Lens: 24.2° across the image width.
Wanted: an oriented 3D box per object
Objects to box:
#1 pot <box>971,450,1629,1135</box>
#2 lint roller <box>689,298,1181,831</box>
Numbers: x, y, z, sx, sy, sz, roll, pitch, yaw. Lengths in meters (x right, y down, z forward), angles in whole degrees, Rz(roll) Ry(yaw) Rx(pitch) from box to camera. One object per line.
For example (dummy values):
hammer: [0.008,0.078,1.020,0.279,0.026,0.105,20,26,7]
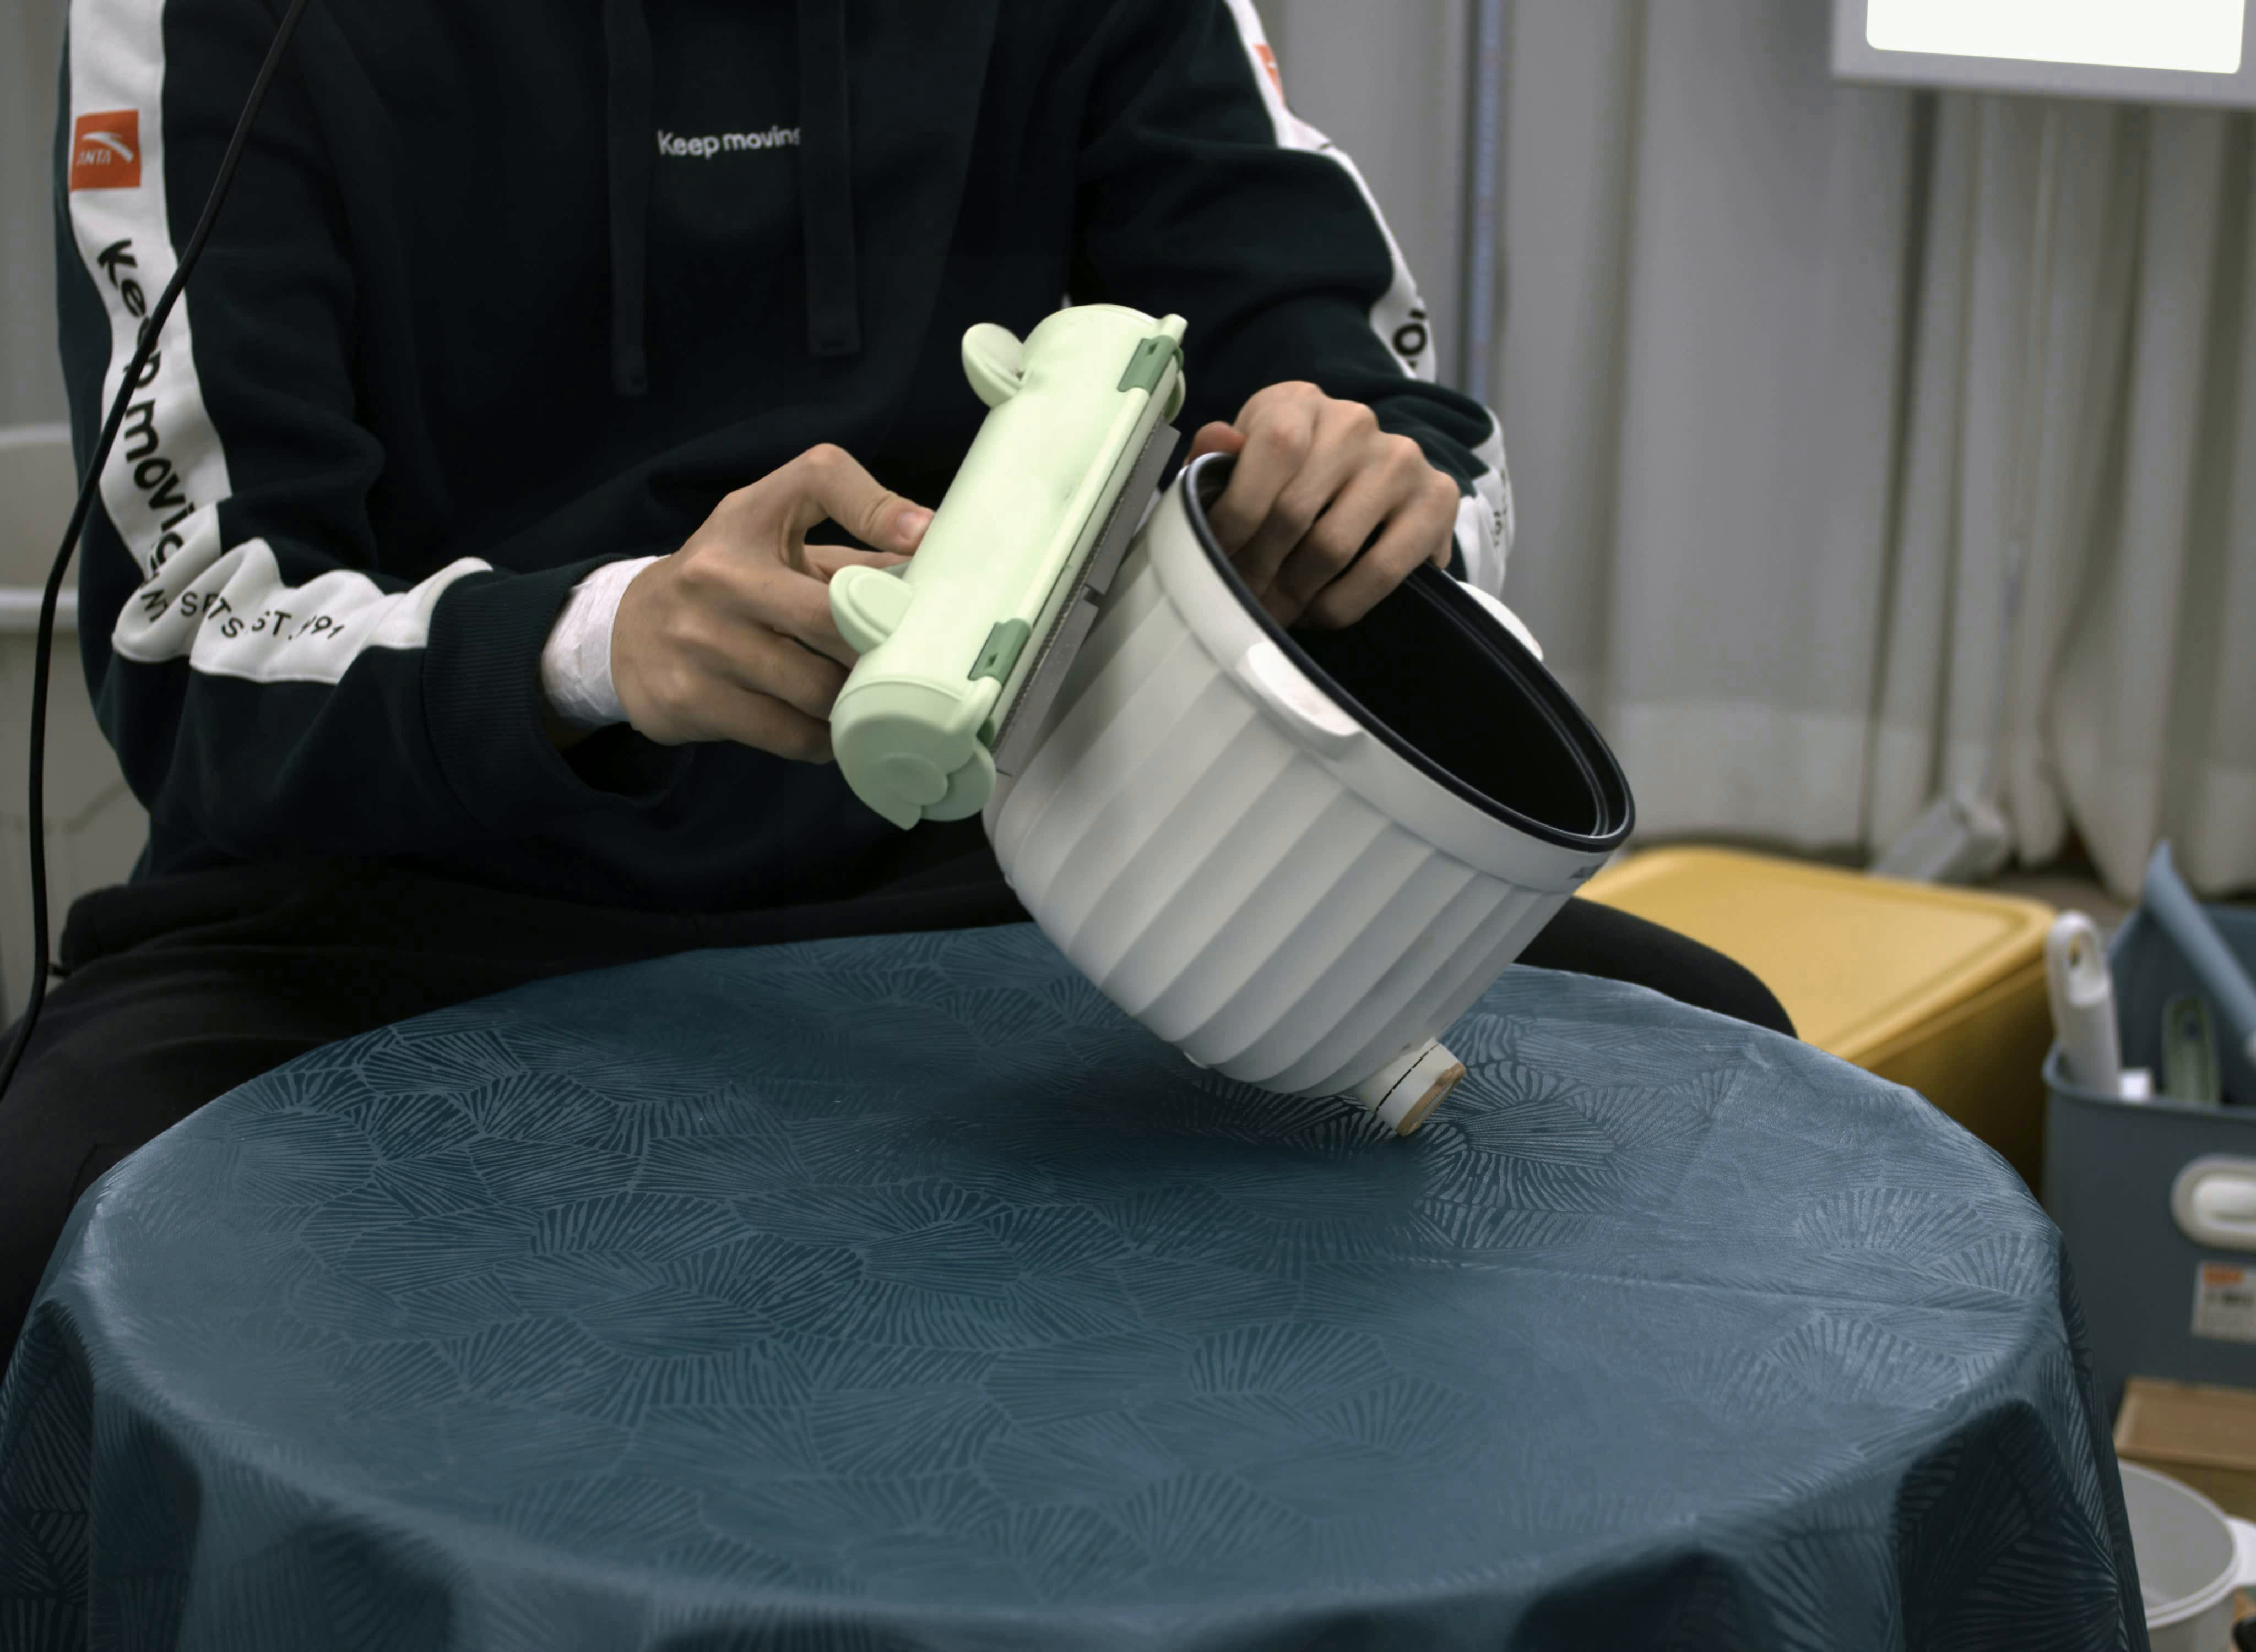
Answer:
pot: [0.051,-0.006,1.670,0.189,0.143,0.241,40,20,10]
lint roller: [-0.083,-0.079,1.643,0.182,0.083,0.198,-12,38,35]
